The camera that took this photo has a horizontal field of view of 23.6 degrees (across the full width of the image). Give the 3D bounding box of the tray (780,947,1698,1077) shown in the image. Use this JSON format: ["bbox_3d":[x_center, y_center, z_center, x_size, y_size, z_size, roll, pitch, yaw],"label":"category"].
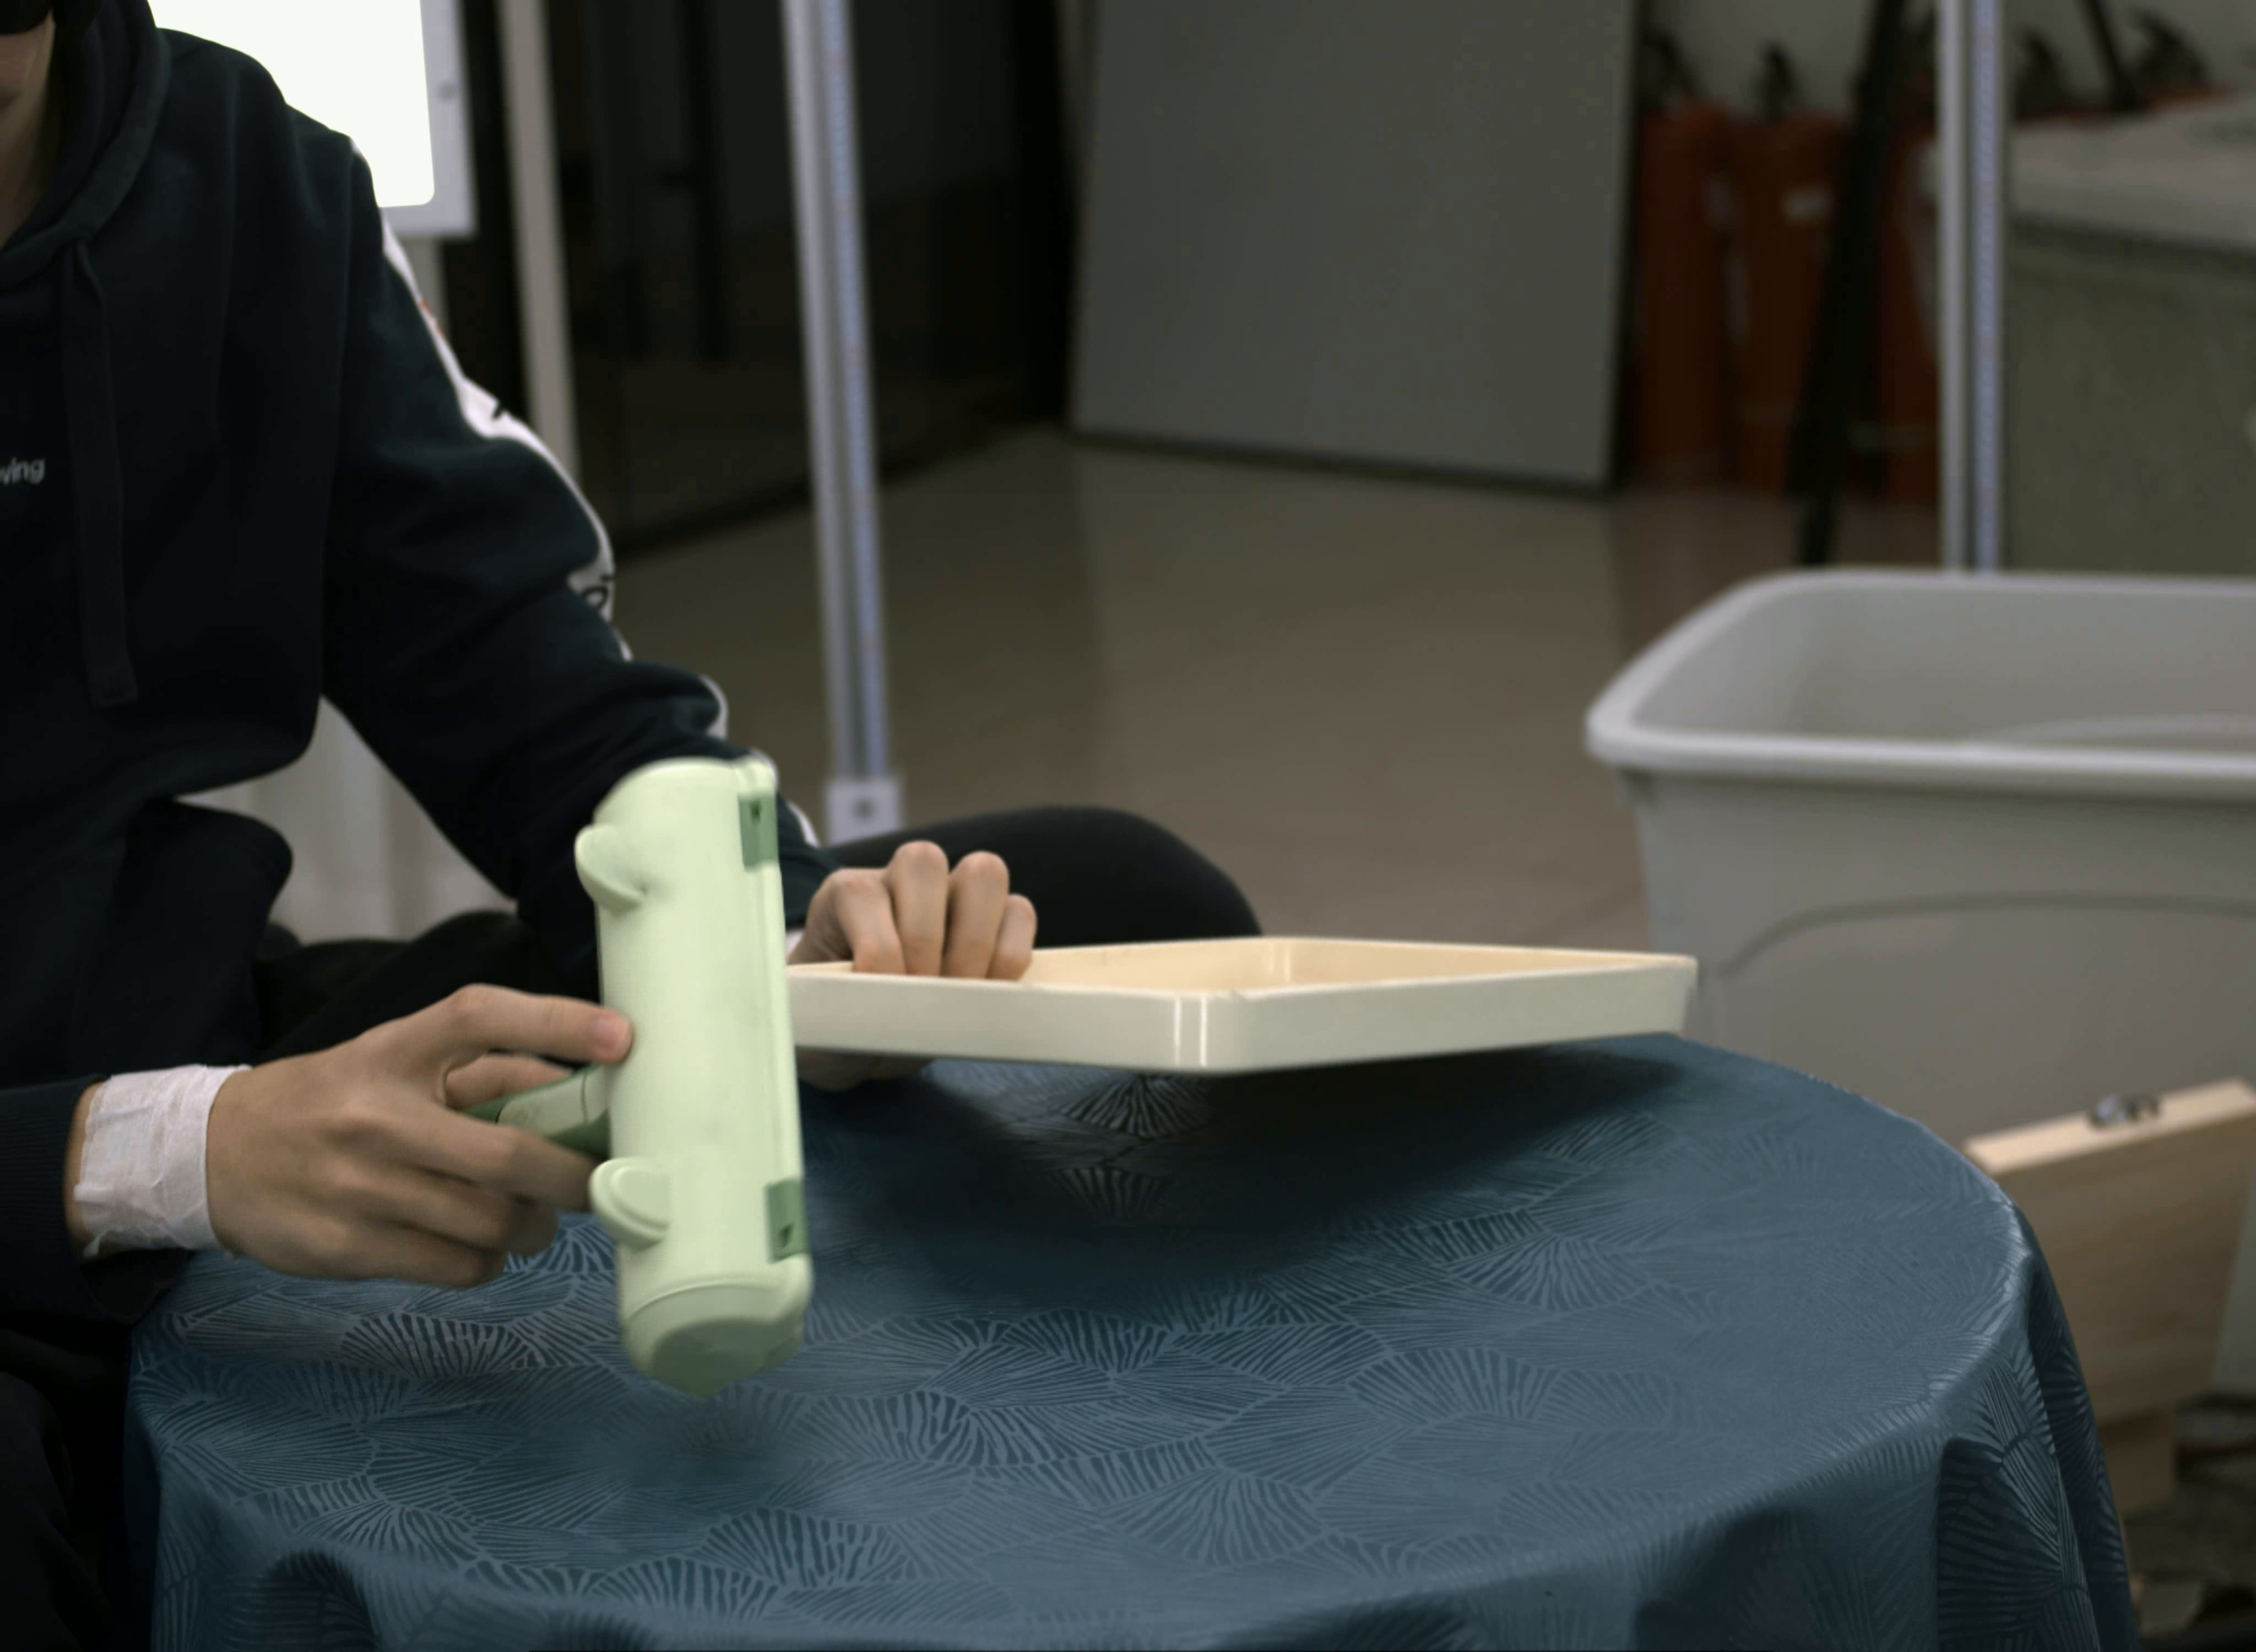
[{"bbox_3d":[0.041,0.060,1.799,0.193,0.028,0.294,1,1,38],"label":"tray"}]

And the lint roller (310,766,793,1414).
[{"bbox_3d":[-0.181,0.088,1.615,0.183,0.081,0.201,-18,53,19],"label":"lint roller"}]
